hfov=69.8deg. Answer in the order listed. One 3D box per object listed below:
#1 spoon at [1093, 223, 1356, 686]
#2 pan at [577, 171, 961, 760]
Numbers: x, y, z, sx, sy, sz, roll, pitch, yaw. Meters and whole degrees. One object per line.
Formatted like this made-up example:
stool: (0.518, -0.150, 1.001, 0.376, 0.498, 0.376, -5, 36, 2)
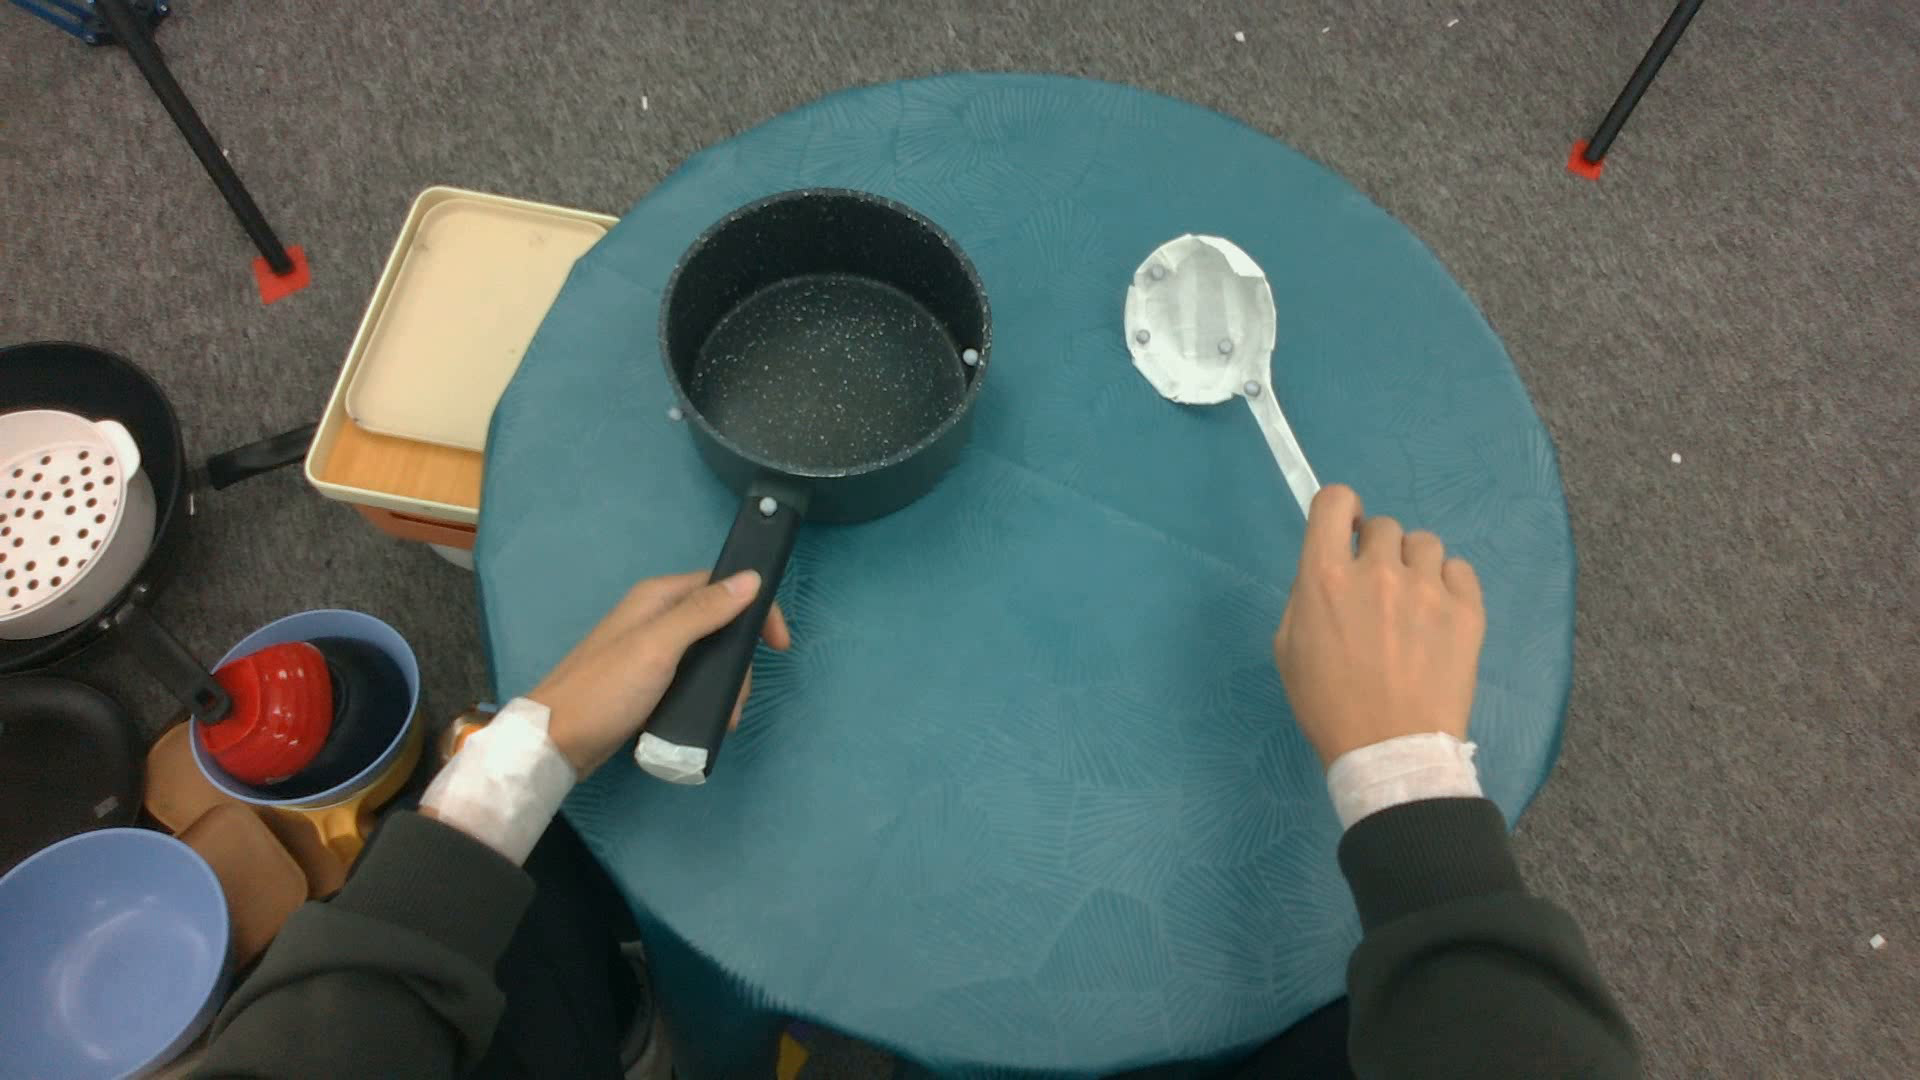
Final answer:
spoon: (0.134, -0.047, 0.722, 0.059, 0.100, 0.278, 10, 51, -32)
pan: (-0.109, -0.036, 0.704, 0.172, 0.086, 0.330, 16, 65, 3)
